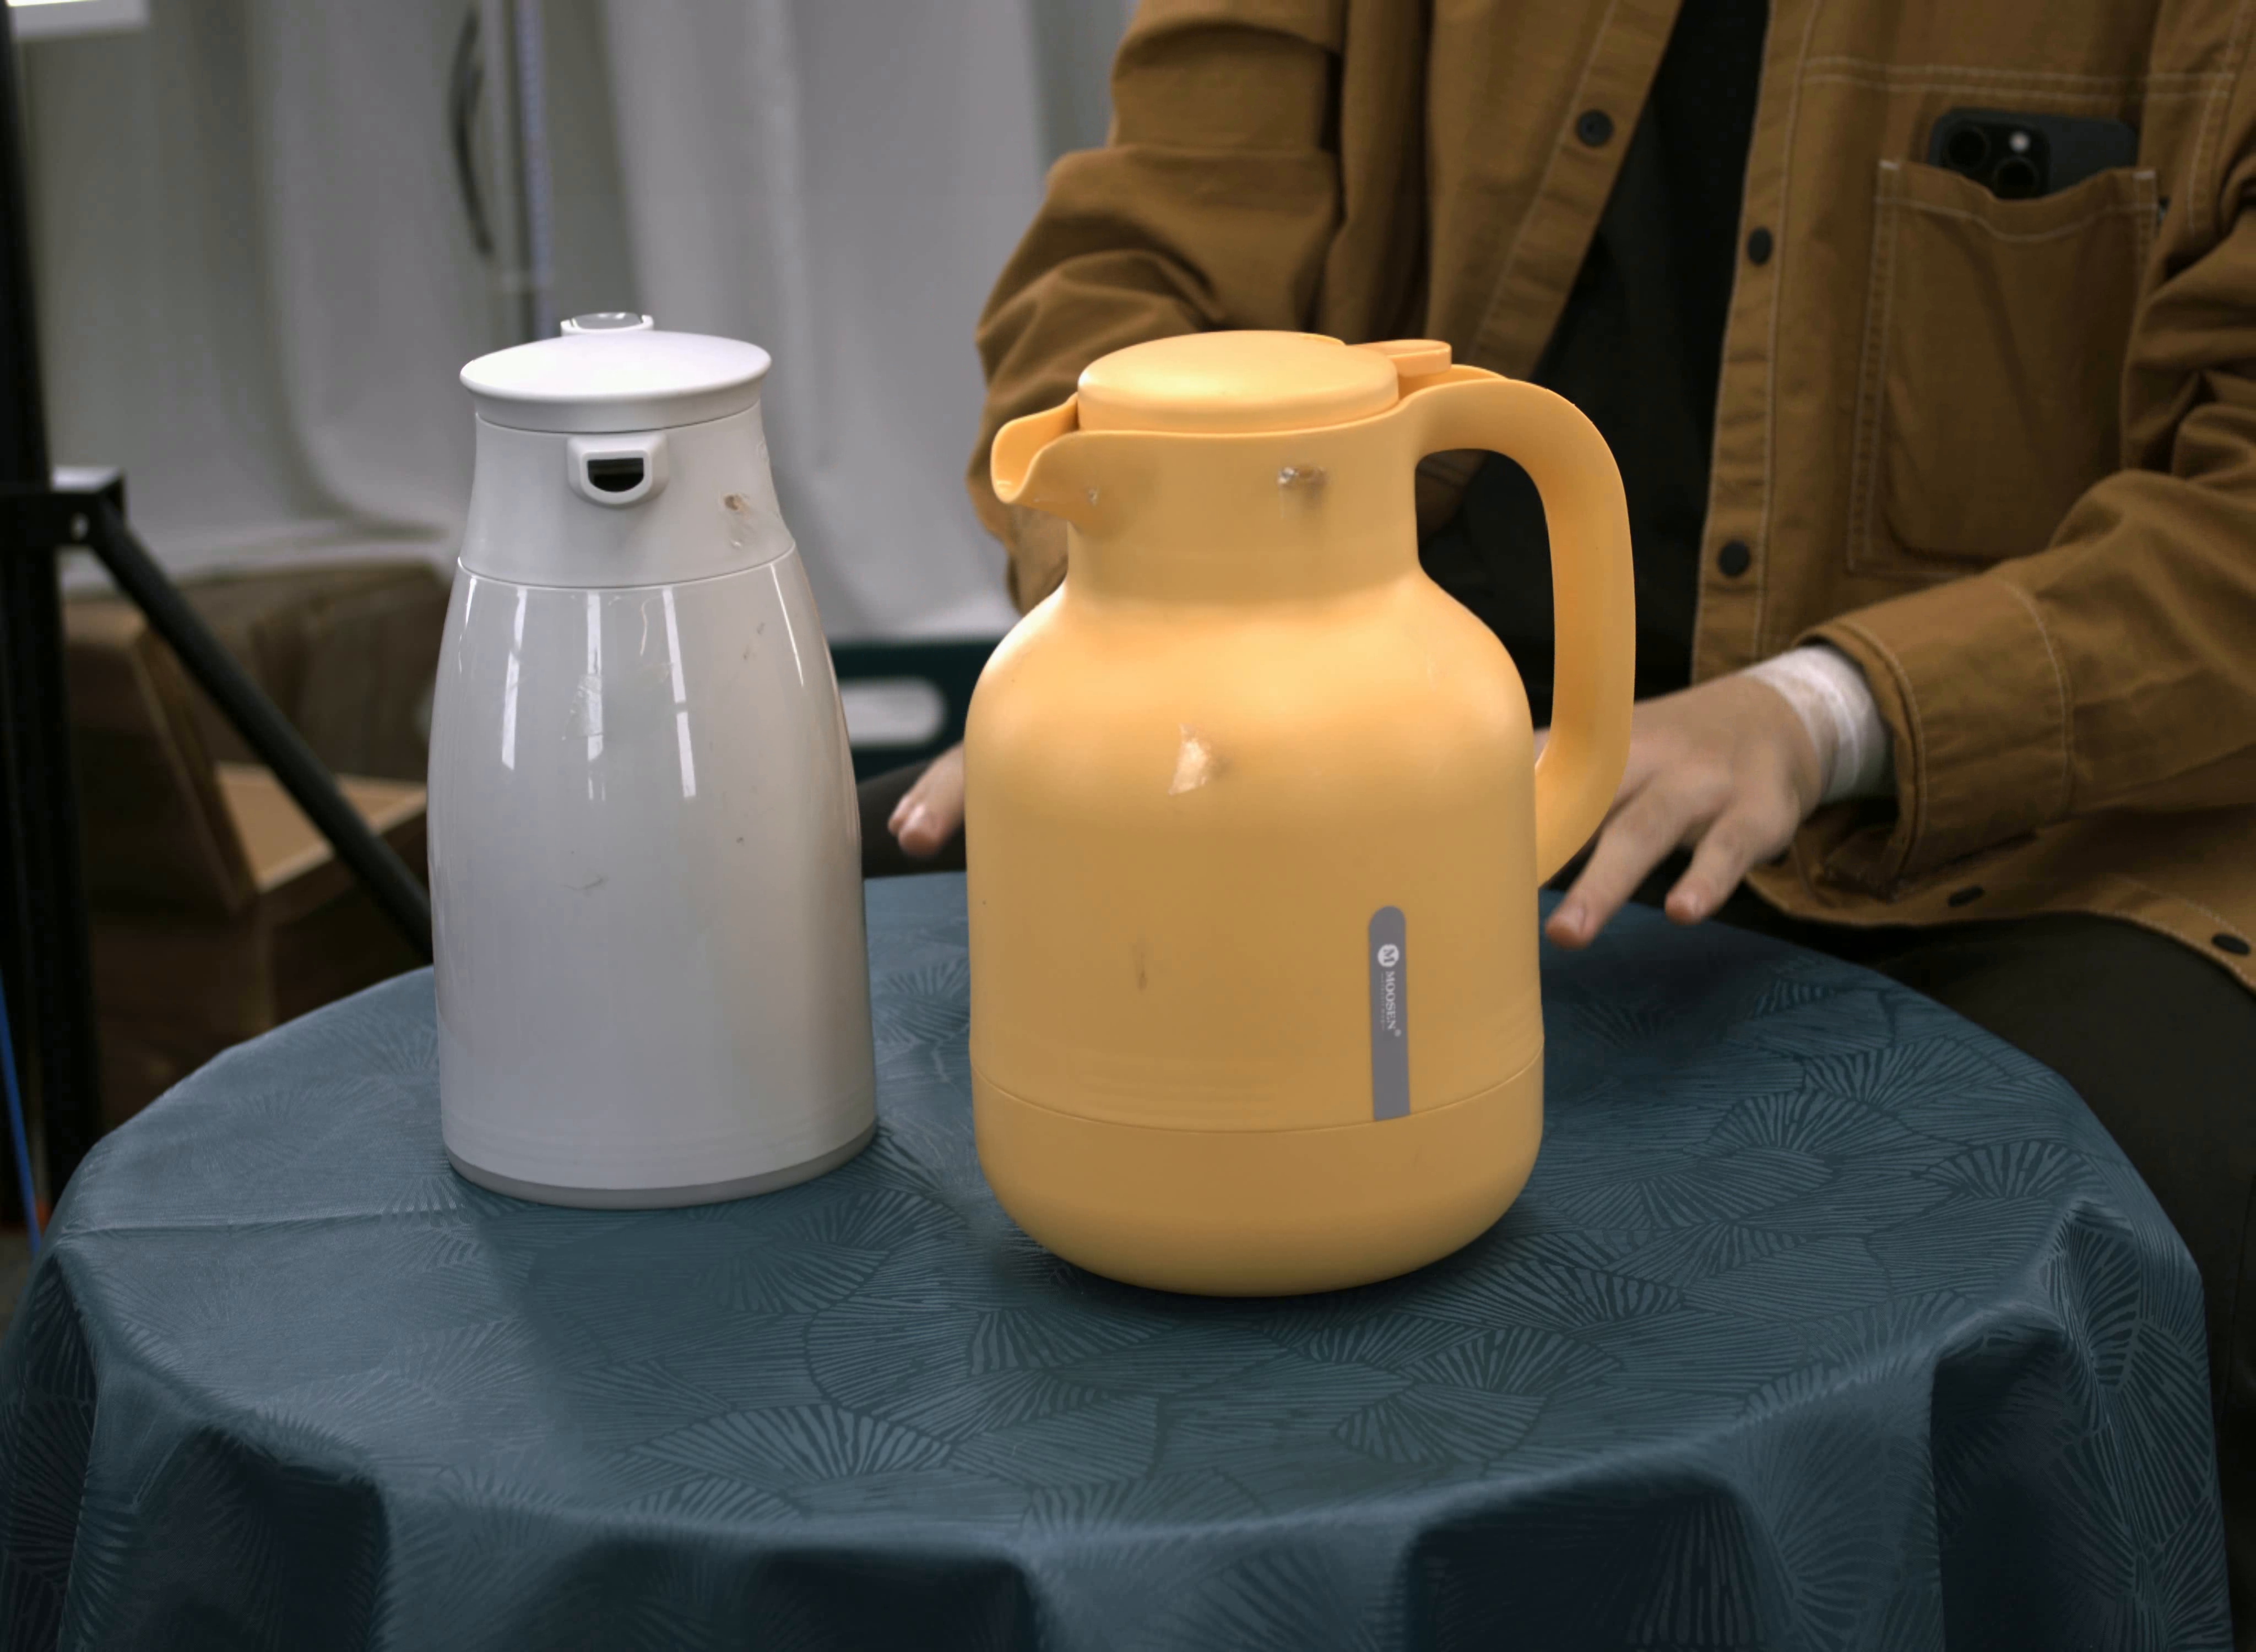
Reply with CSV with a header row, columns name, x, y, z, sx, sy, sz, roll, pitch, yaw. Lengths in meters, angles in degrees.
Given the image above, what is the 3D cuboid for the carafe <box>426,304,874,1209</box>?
name,x,y,z,sx,sy,sz,roll,pitch,yaw
carafe,-0.149,-0.029,1.611,0.131,0.248,0.169,-4,15,-4

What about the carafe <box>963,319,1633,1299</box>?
name,x,y,z,sx,sy,sz,roll,pitch,yaw
carafe,0.053,-0.011,1.490,0.198,0.260,0.167,-10,19,-23
